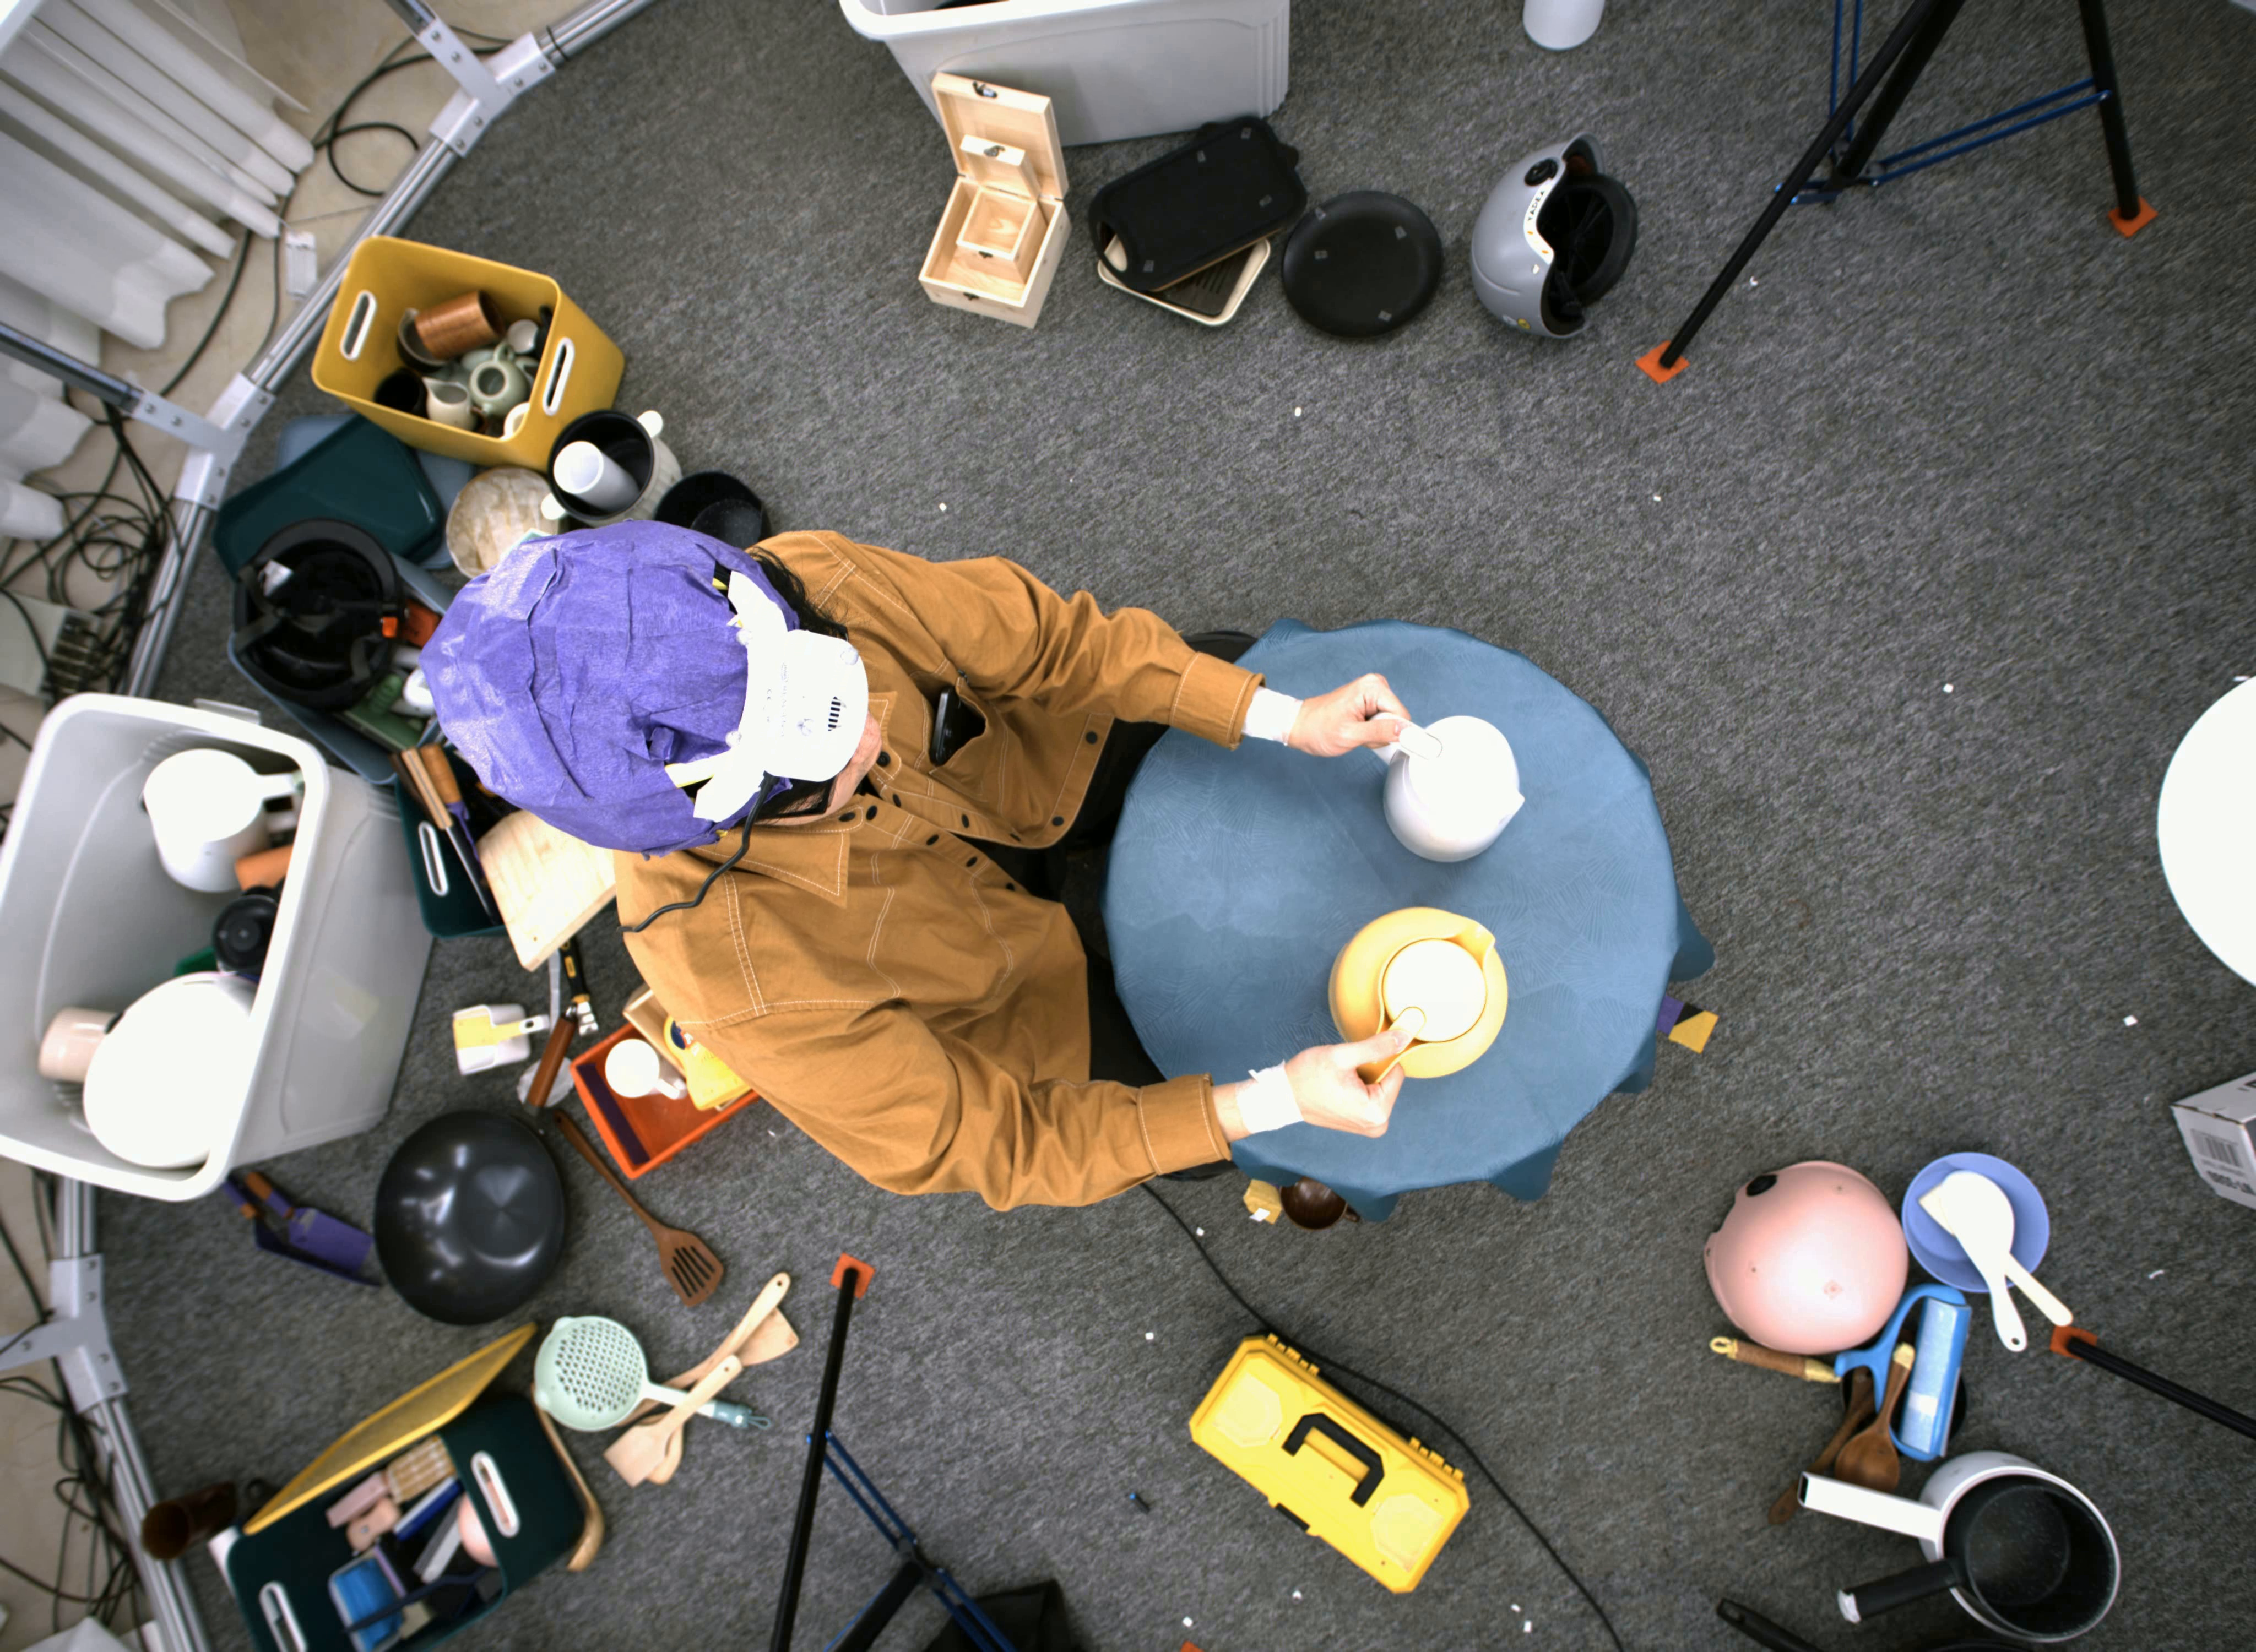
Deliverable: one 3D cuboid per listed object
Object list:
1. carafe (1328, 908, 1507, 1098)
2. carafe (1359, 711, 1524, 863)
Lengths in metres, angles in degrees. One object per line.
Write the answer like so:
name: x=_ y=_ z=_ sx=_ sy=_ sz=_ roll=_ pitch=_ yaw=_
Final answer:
carafe: x=0.263 y=0.171 z=1.320 sx=0.163 sy=0.262 sz=0.202 roll=42 pitch=88 yaw=10
carafe: x=0.299 y=-0.051 z=1.336 sx=0.167 sy=0.249 sz=0.133 roll=34 pitch=92 yaw=12
